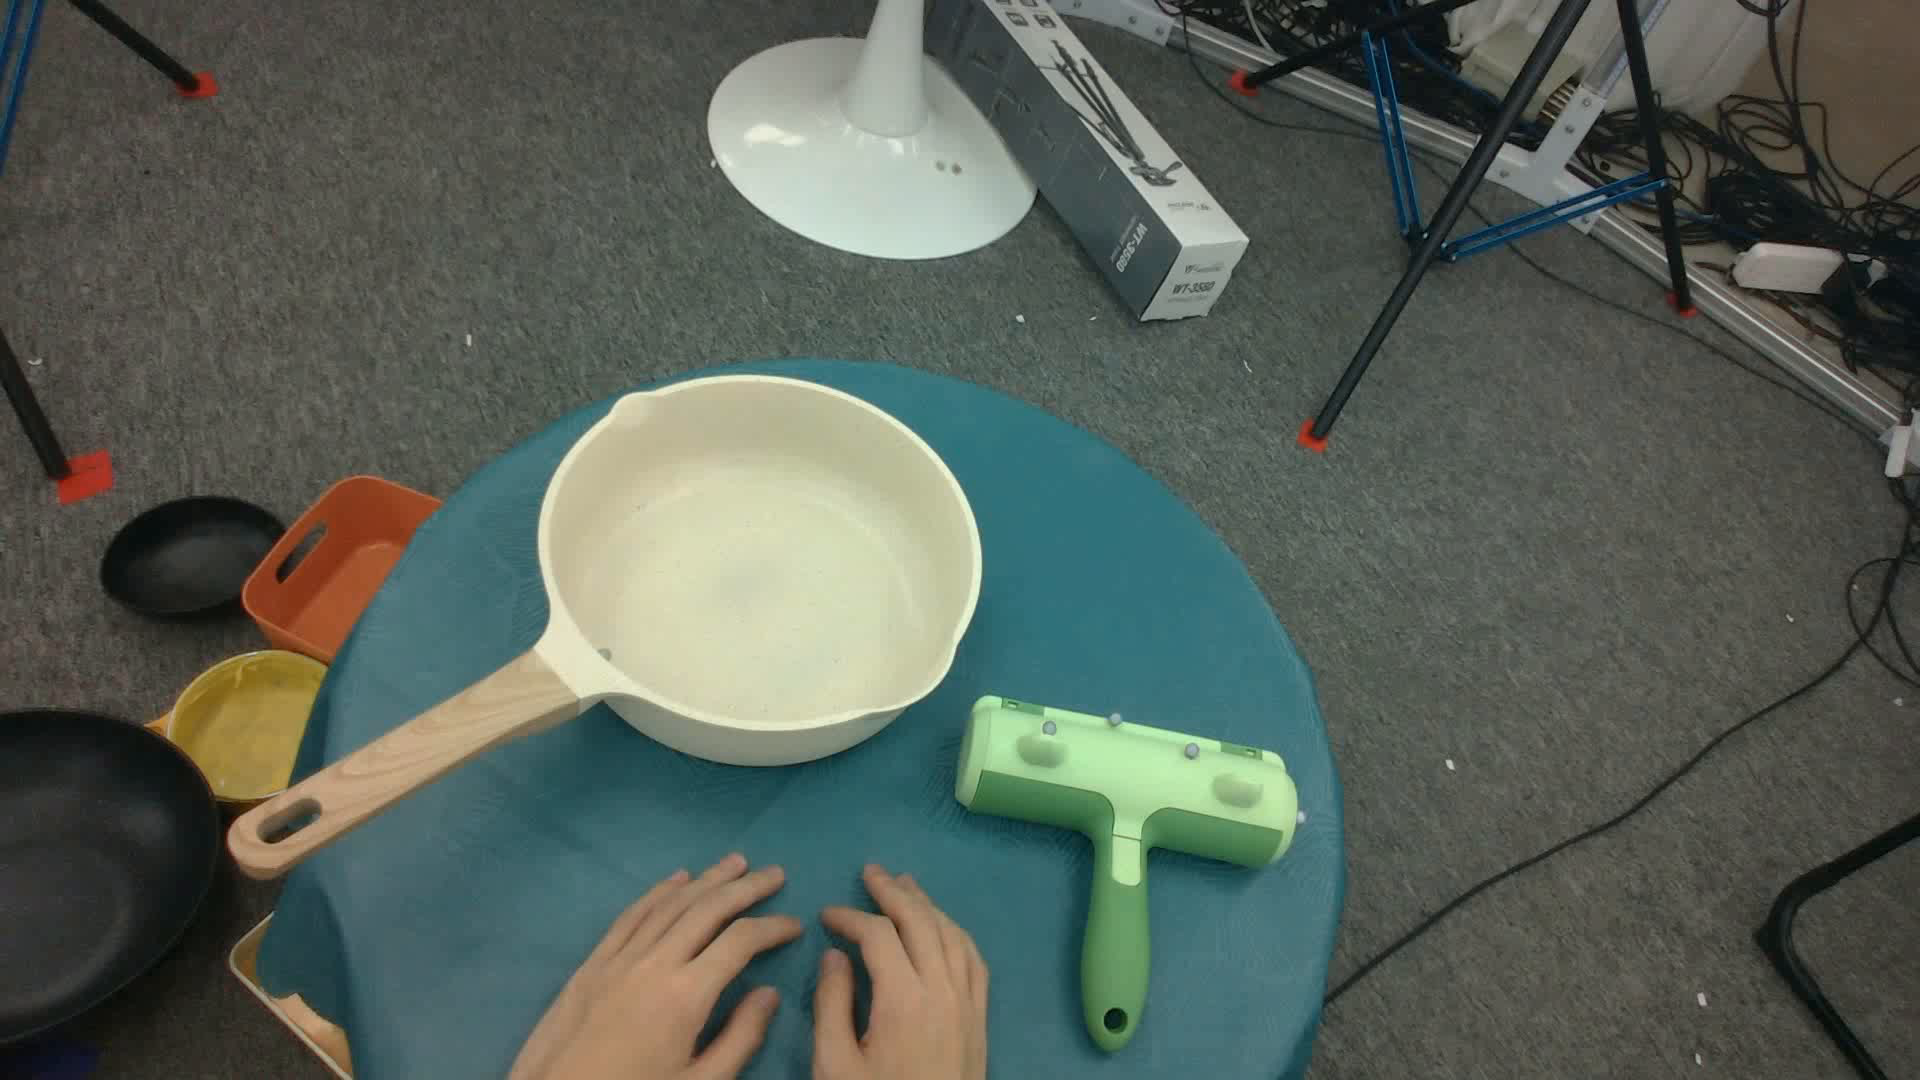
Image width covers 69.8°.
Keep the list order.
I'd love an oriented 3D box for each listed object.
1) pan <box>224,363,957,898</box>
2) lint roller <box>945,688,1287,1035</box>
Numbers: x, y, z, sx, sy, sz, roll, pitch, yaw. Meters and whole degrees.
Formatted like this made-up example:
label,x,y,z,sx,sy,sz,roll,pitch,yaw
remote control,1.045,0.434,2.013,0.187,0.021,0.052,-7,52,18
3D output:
label,x,y,z,sx,sy,sz,roll,pitch,yaw
pan,-0.190,0.059,0.761,0.263,0.101,0.437,41,54,15
lint roller,0.090,0.172,0.762,0.198,0.082,0.184,11,46,-7
